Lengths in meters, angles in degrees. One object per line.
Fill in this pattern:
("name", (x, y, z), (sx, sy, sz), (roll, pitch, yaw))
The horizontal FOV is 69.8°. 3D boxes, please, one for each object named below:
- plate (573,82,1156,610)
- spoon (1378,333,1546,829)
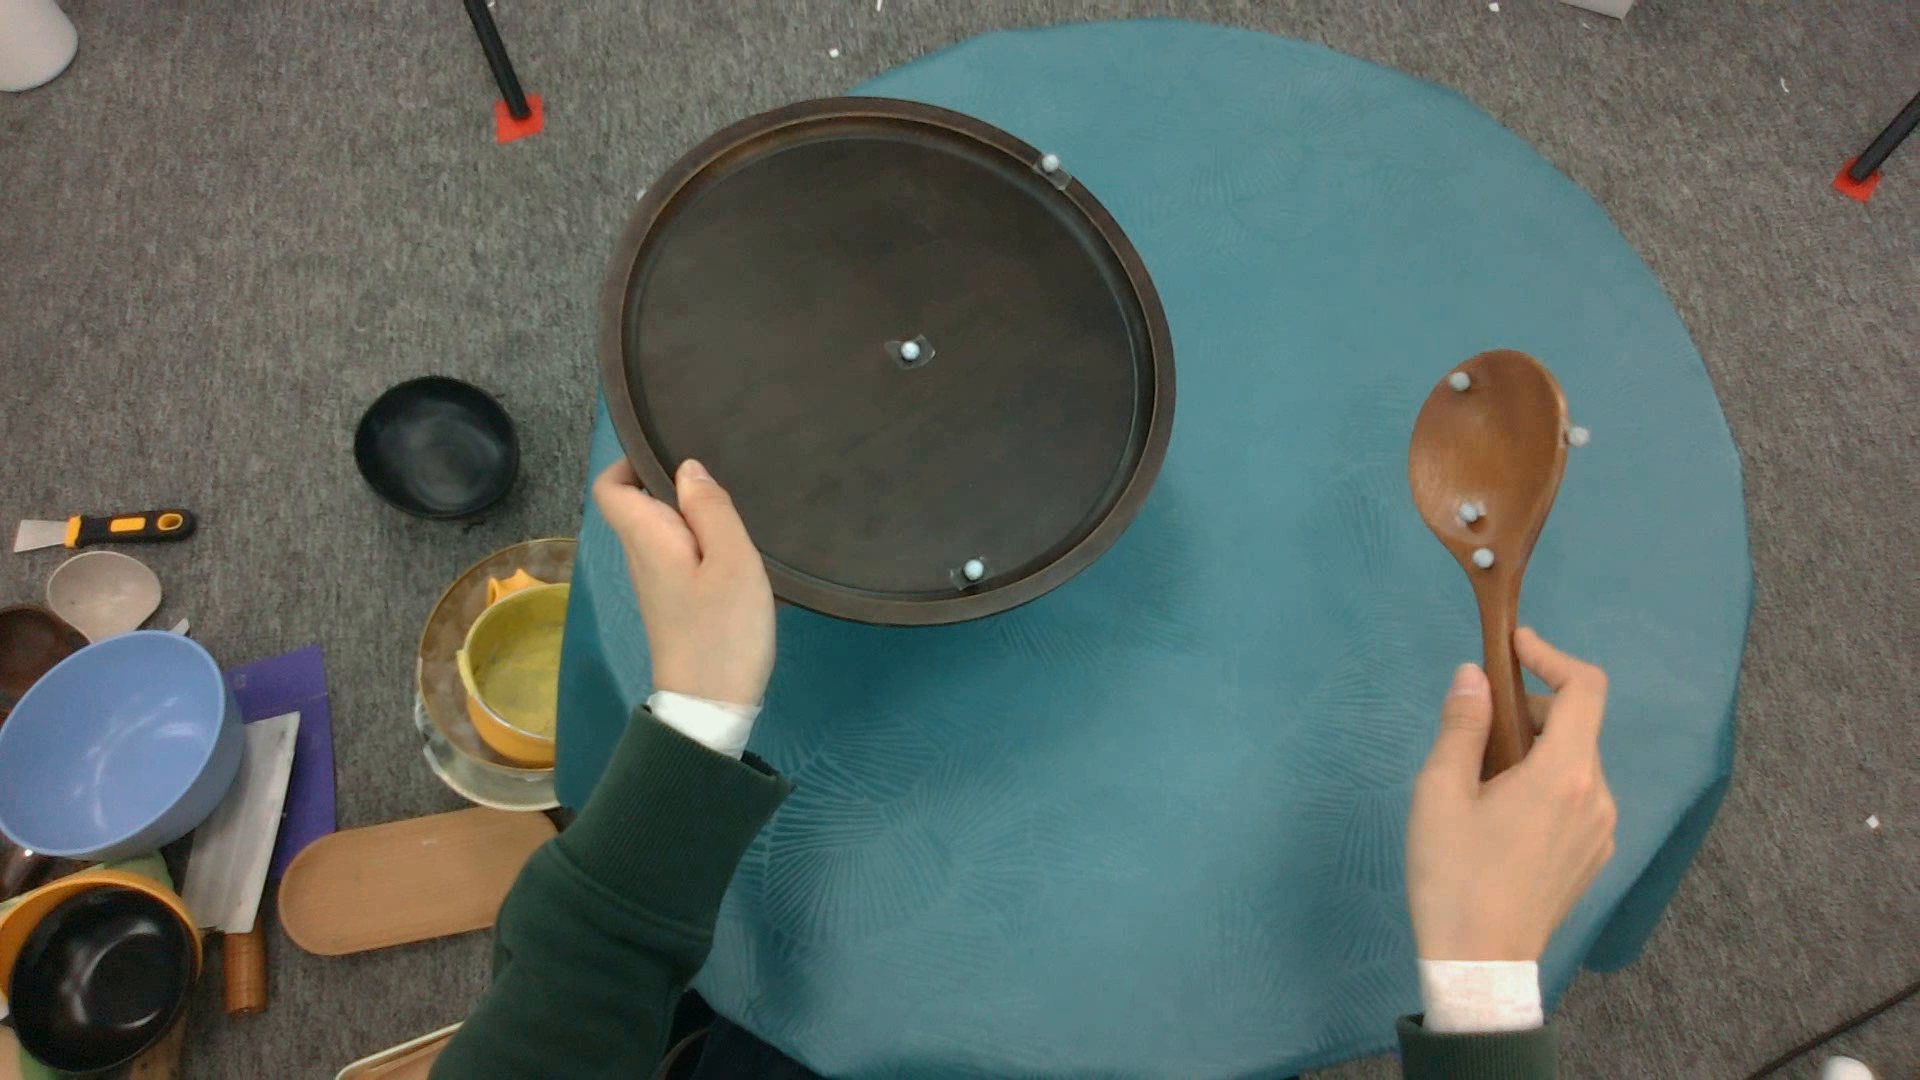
("plate", (-0.038, -0.089, 0.601), (0.255, 0.029, 0.255), (5, 68, -11))
("spoon", (0.213, 0.012, 0.574), (0.017, 0.075, 0.216), (24, 61, -38))
